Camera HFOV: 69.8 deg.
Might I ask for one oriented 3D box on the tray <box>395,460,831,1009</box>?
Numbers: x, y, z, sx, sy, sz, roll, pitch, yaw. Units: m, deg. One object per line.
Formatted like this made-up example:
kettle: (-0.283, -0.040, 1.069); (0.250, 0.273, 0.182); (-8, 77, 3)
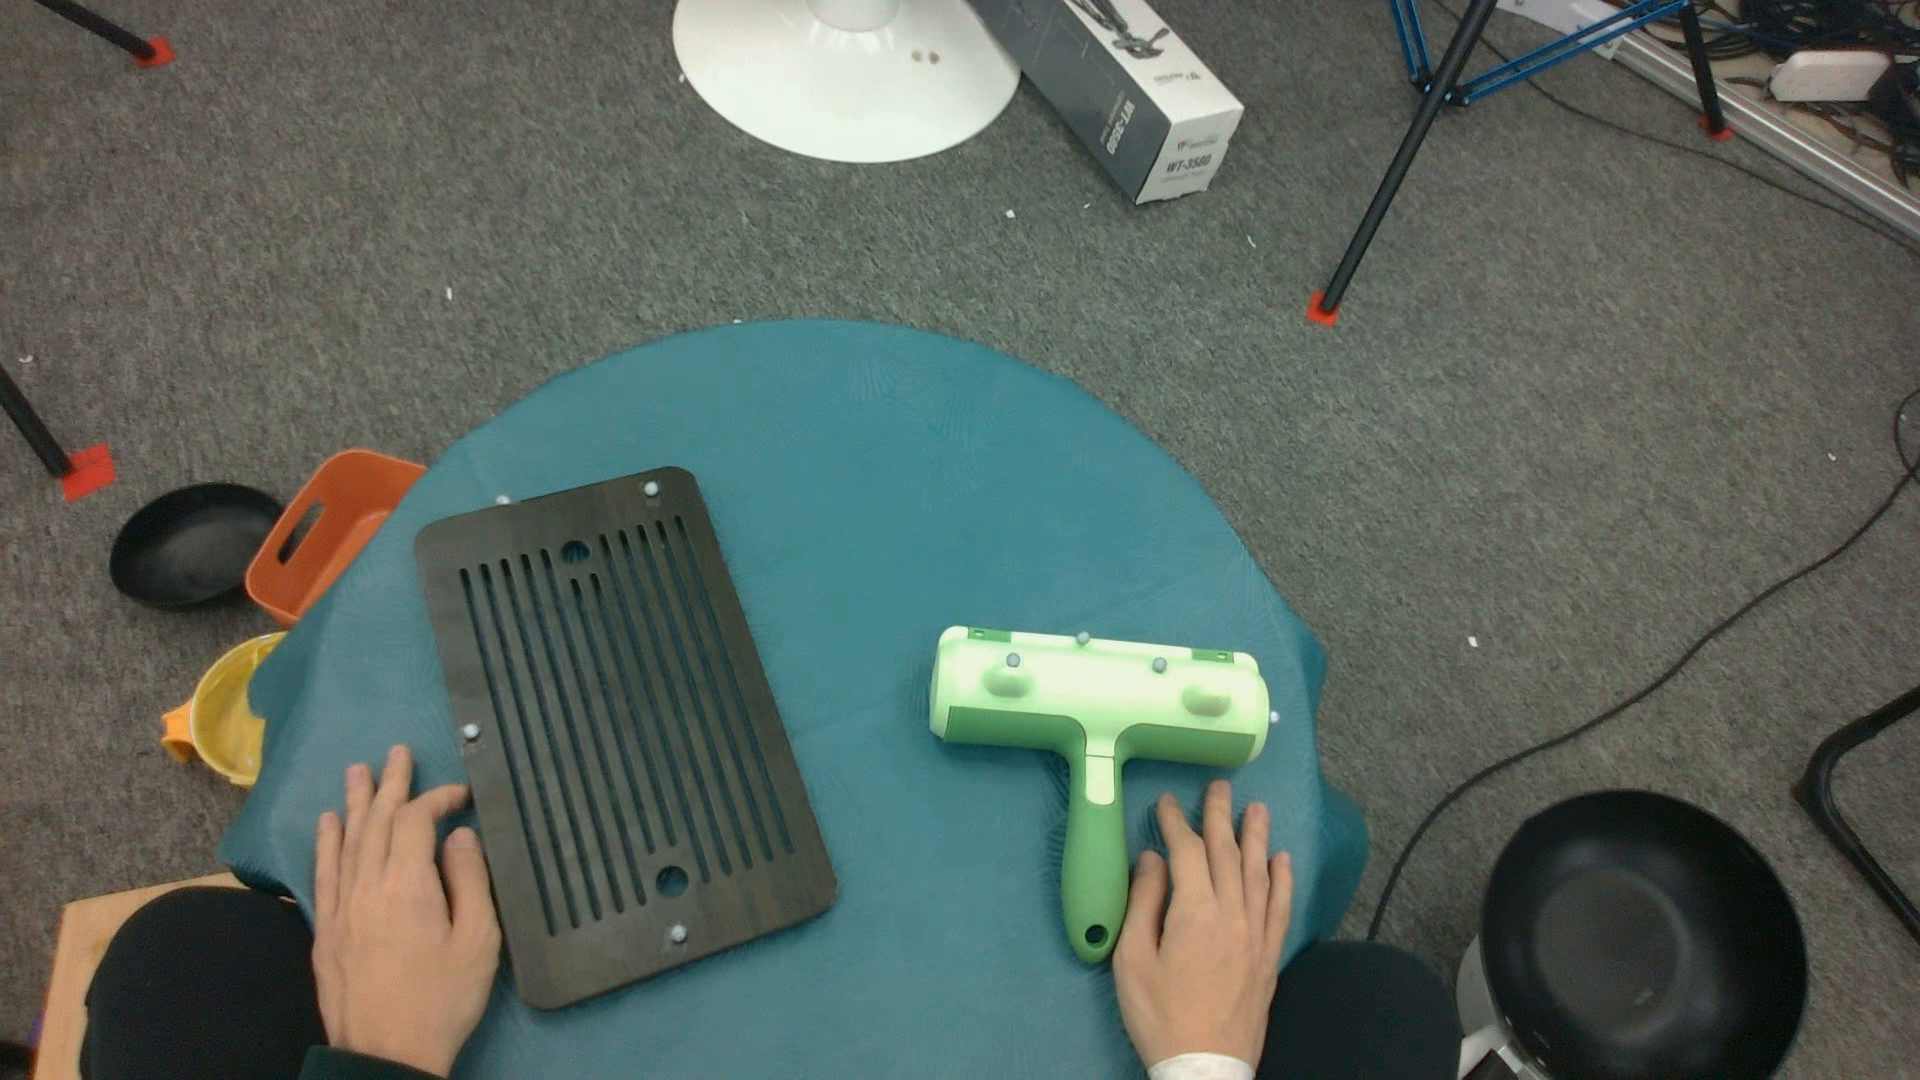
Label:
tray: (-0.204, 0.096, 0.787); (0.170, 0.018, 0.306); (-17, 63, -18)

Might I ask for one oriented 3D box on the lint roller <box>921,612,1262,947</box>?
lint roller: (0.077, 0.127, 0.773); (0.199, 0.082, 0.184); (5, 55, -6)
